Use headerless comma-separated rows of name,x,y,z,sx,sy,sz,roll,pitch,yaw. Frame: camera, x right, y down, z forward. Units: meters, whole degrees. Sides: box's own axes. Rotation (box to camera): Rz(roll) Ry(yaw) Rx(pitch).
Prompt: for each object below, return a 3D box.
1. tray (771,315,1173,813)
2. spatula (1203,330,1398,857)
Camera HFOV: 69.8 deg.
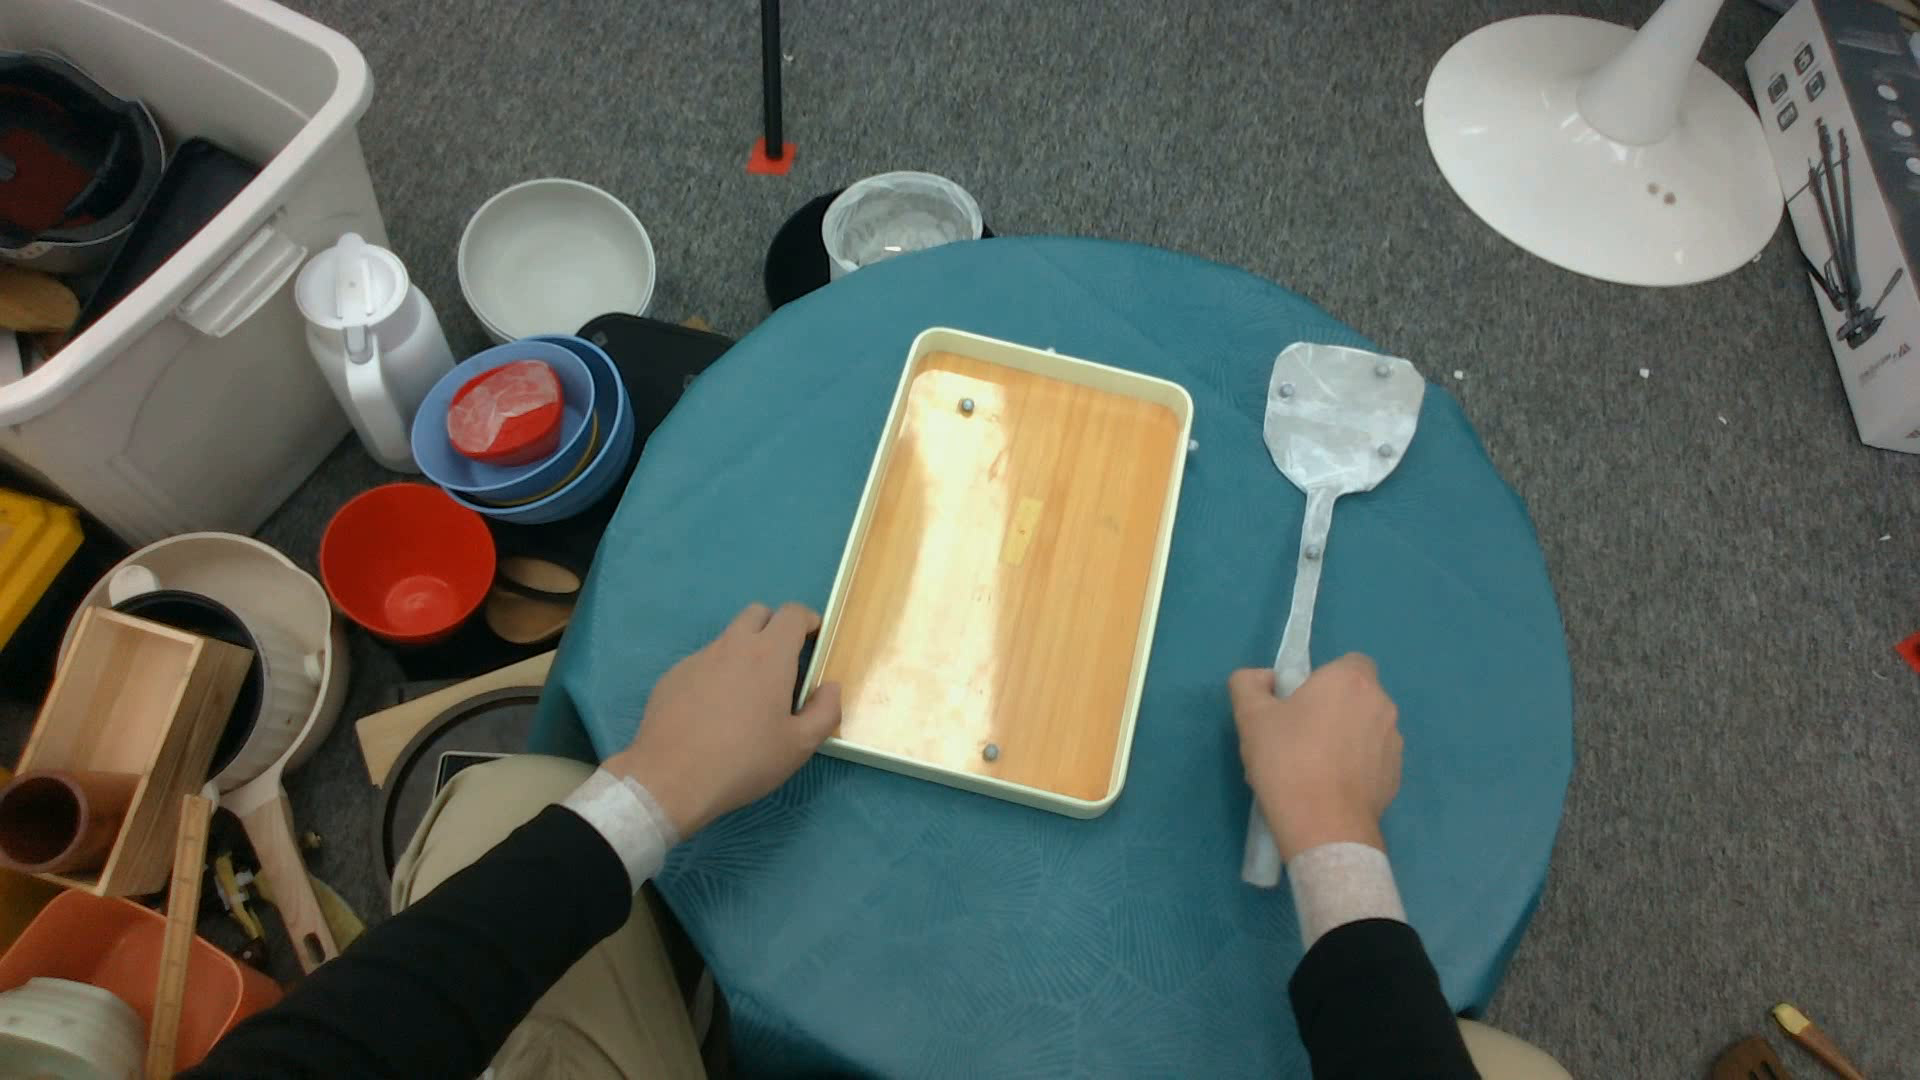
tray,0.015,0.004,0.842,0.191,0.027,0.301,14,61,2
spatula,0.196,0.020,0.838,0.098,0.044,0.366,13,57,9
